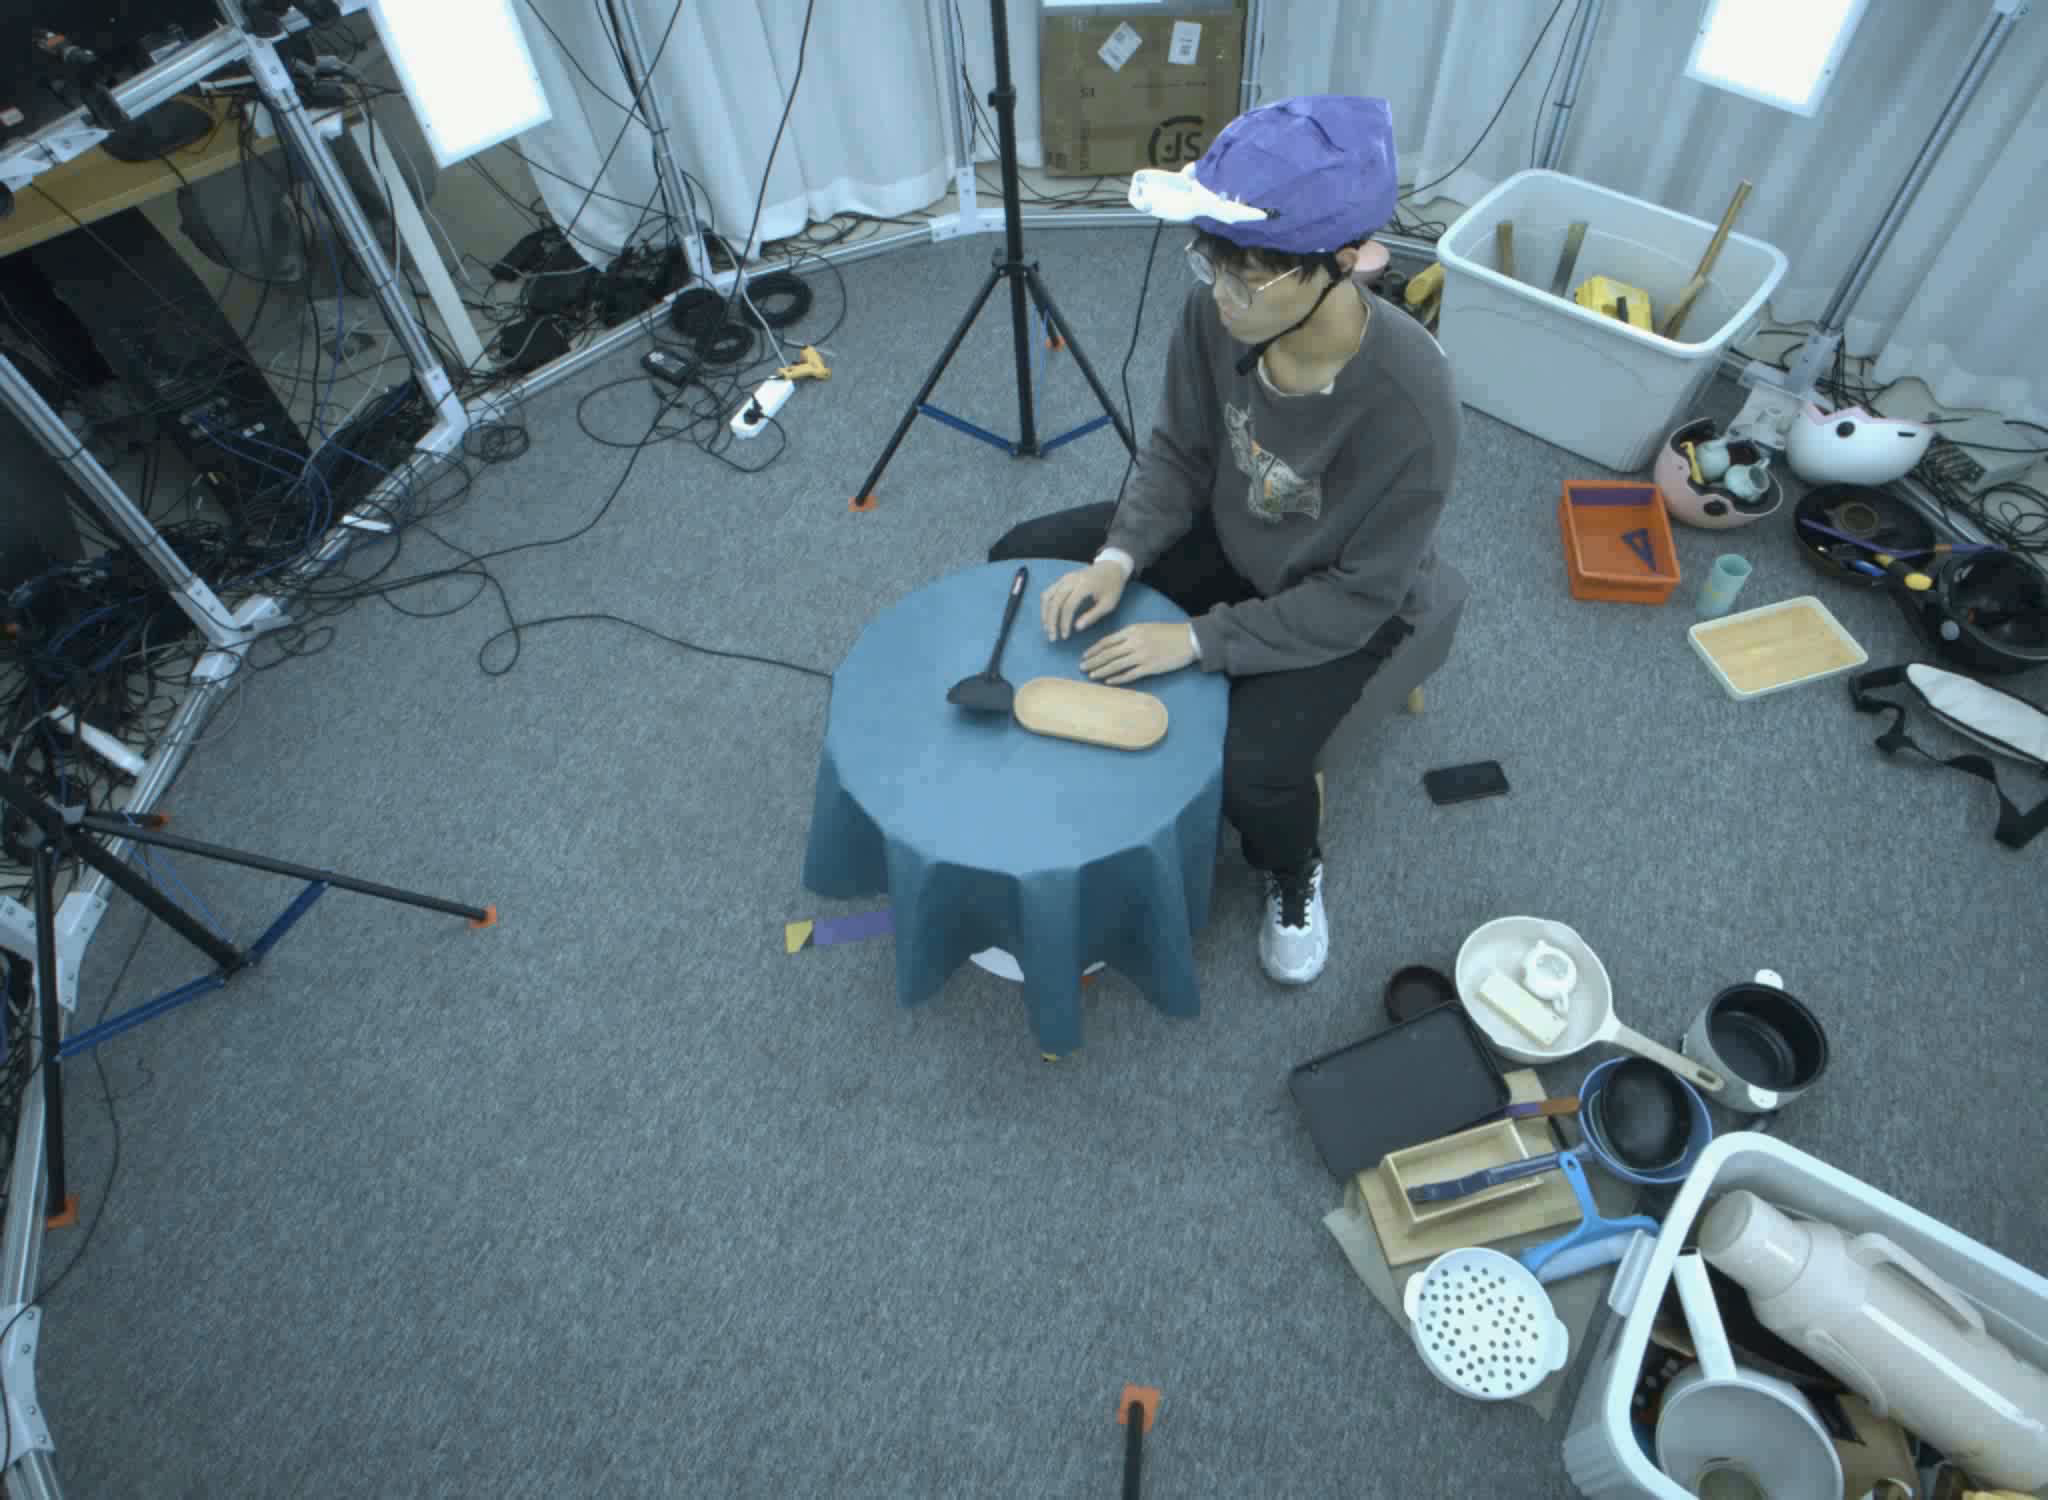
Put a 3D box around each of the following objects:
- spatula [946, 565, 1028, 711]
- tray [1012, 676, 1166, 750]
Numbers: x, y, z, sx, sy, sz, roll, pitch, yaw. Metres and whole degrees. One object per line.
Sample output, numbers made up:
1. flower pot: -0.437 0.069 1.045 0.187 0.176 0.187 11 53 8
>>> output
1. spatula: -0.035 -0.179 1.893 0.099 0.041 0.324 10 55 8
2. tray: 0.095 -0.054 1.811 0.229 0.020 0.101 10 55 10
